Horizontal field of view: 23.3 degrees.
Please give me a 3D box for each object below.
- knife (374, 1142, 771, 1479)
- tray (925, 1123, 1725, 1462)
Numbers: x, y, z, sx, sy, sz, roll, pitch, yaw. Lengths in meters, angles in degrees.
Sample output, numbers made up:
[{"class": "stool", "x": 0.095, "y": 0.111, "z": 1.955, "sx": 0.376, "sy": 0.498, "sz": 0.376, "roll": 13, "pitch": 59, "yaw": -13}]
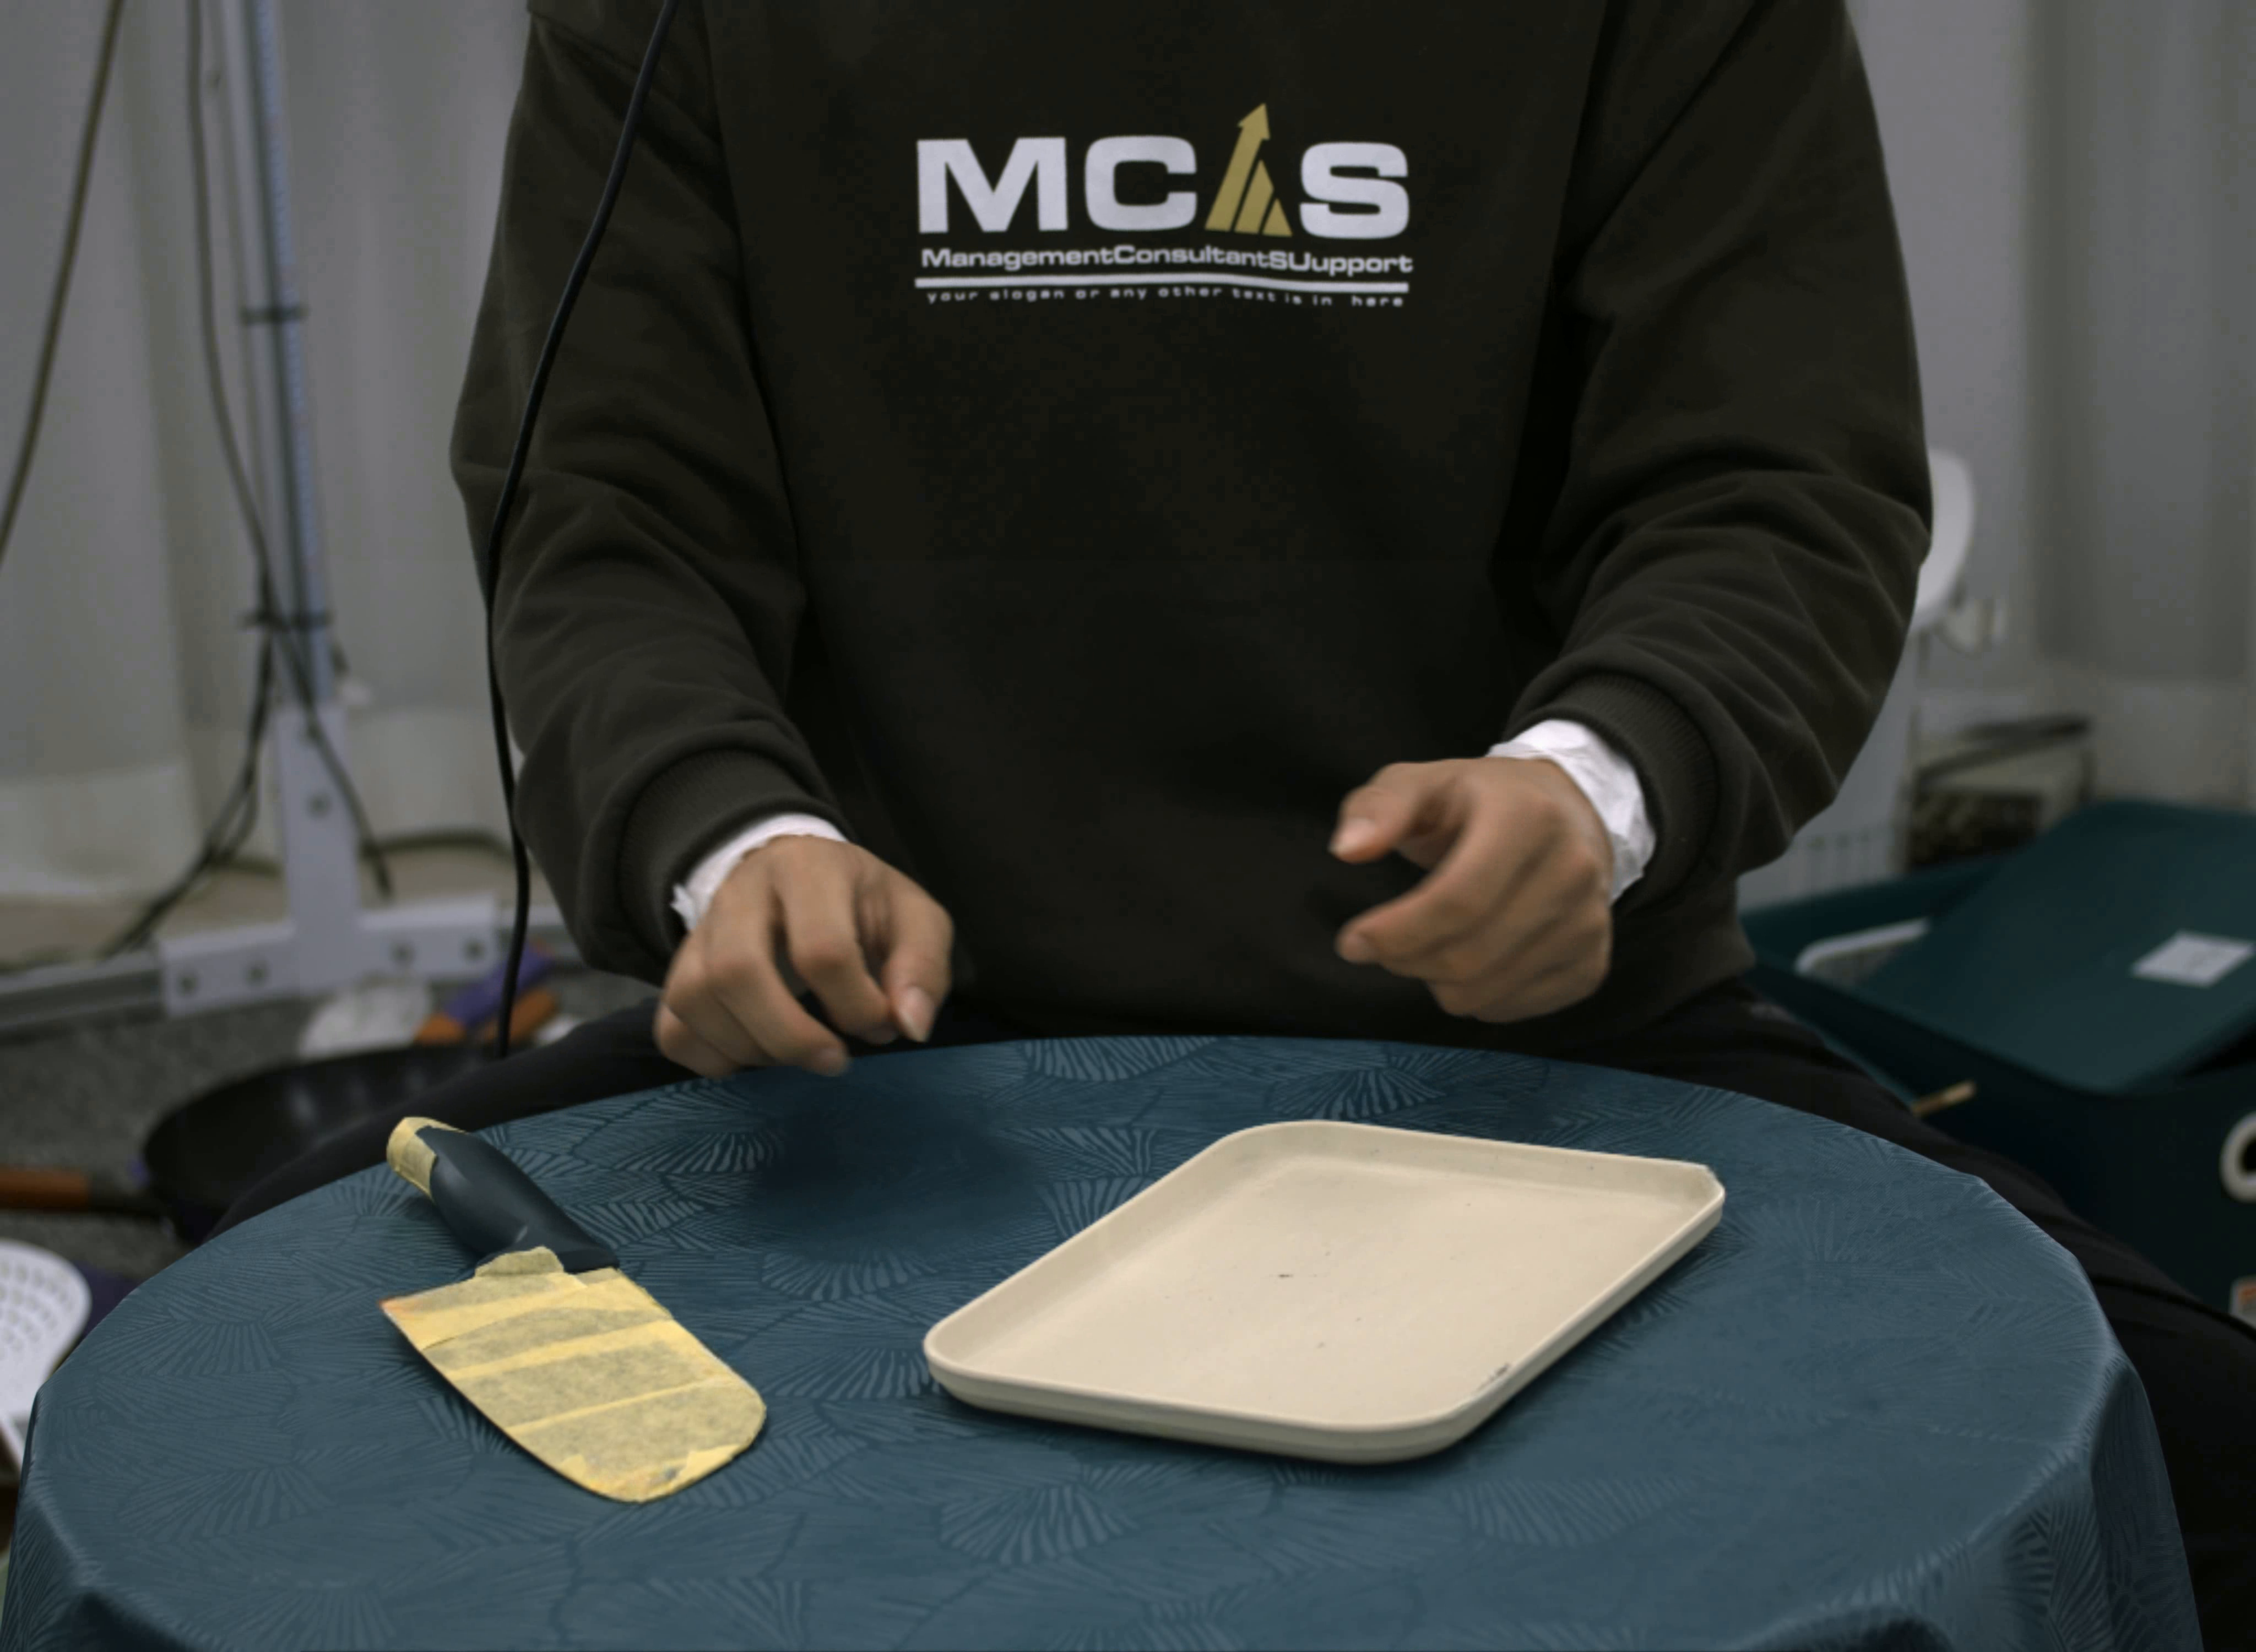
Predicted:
[{"class": "knife", "x": -0.179, "y": 0.143, "z": 1.614, "sx": 0.080, "sy": 0.027, "sz": 0.292, "roll": -7, "pitch": 16, "yaw": -23}, {"class": "tray", "x": 0.061, "y": 0.135, "z": 1.596, "sx": 0.171, "sy": 0.017, "sz": 0.240, "roll": 4, "pitch": 16, "yaw": 28}]
